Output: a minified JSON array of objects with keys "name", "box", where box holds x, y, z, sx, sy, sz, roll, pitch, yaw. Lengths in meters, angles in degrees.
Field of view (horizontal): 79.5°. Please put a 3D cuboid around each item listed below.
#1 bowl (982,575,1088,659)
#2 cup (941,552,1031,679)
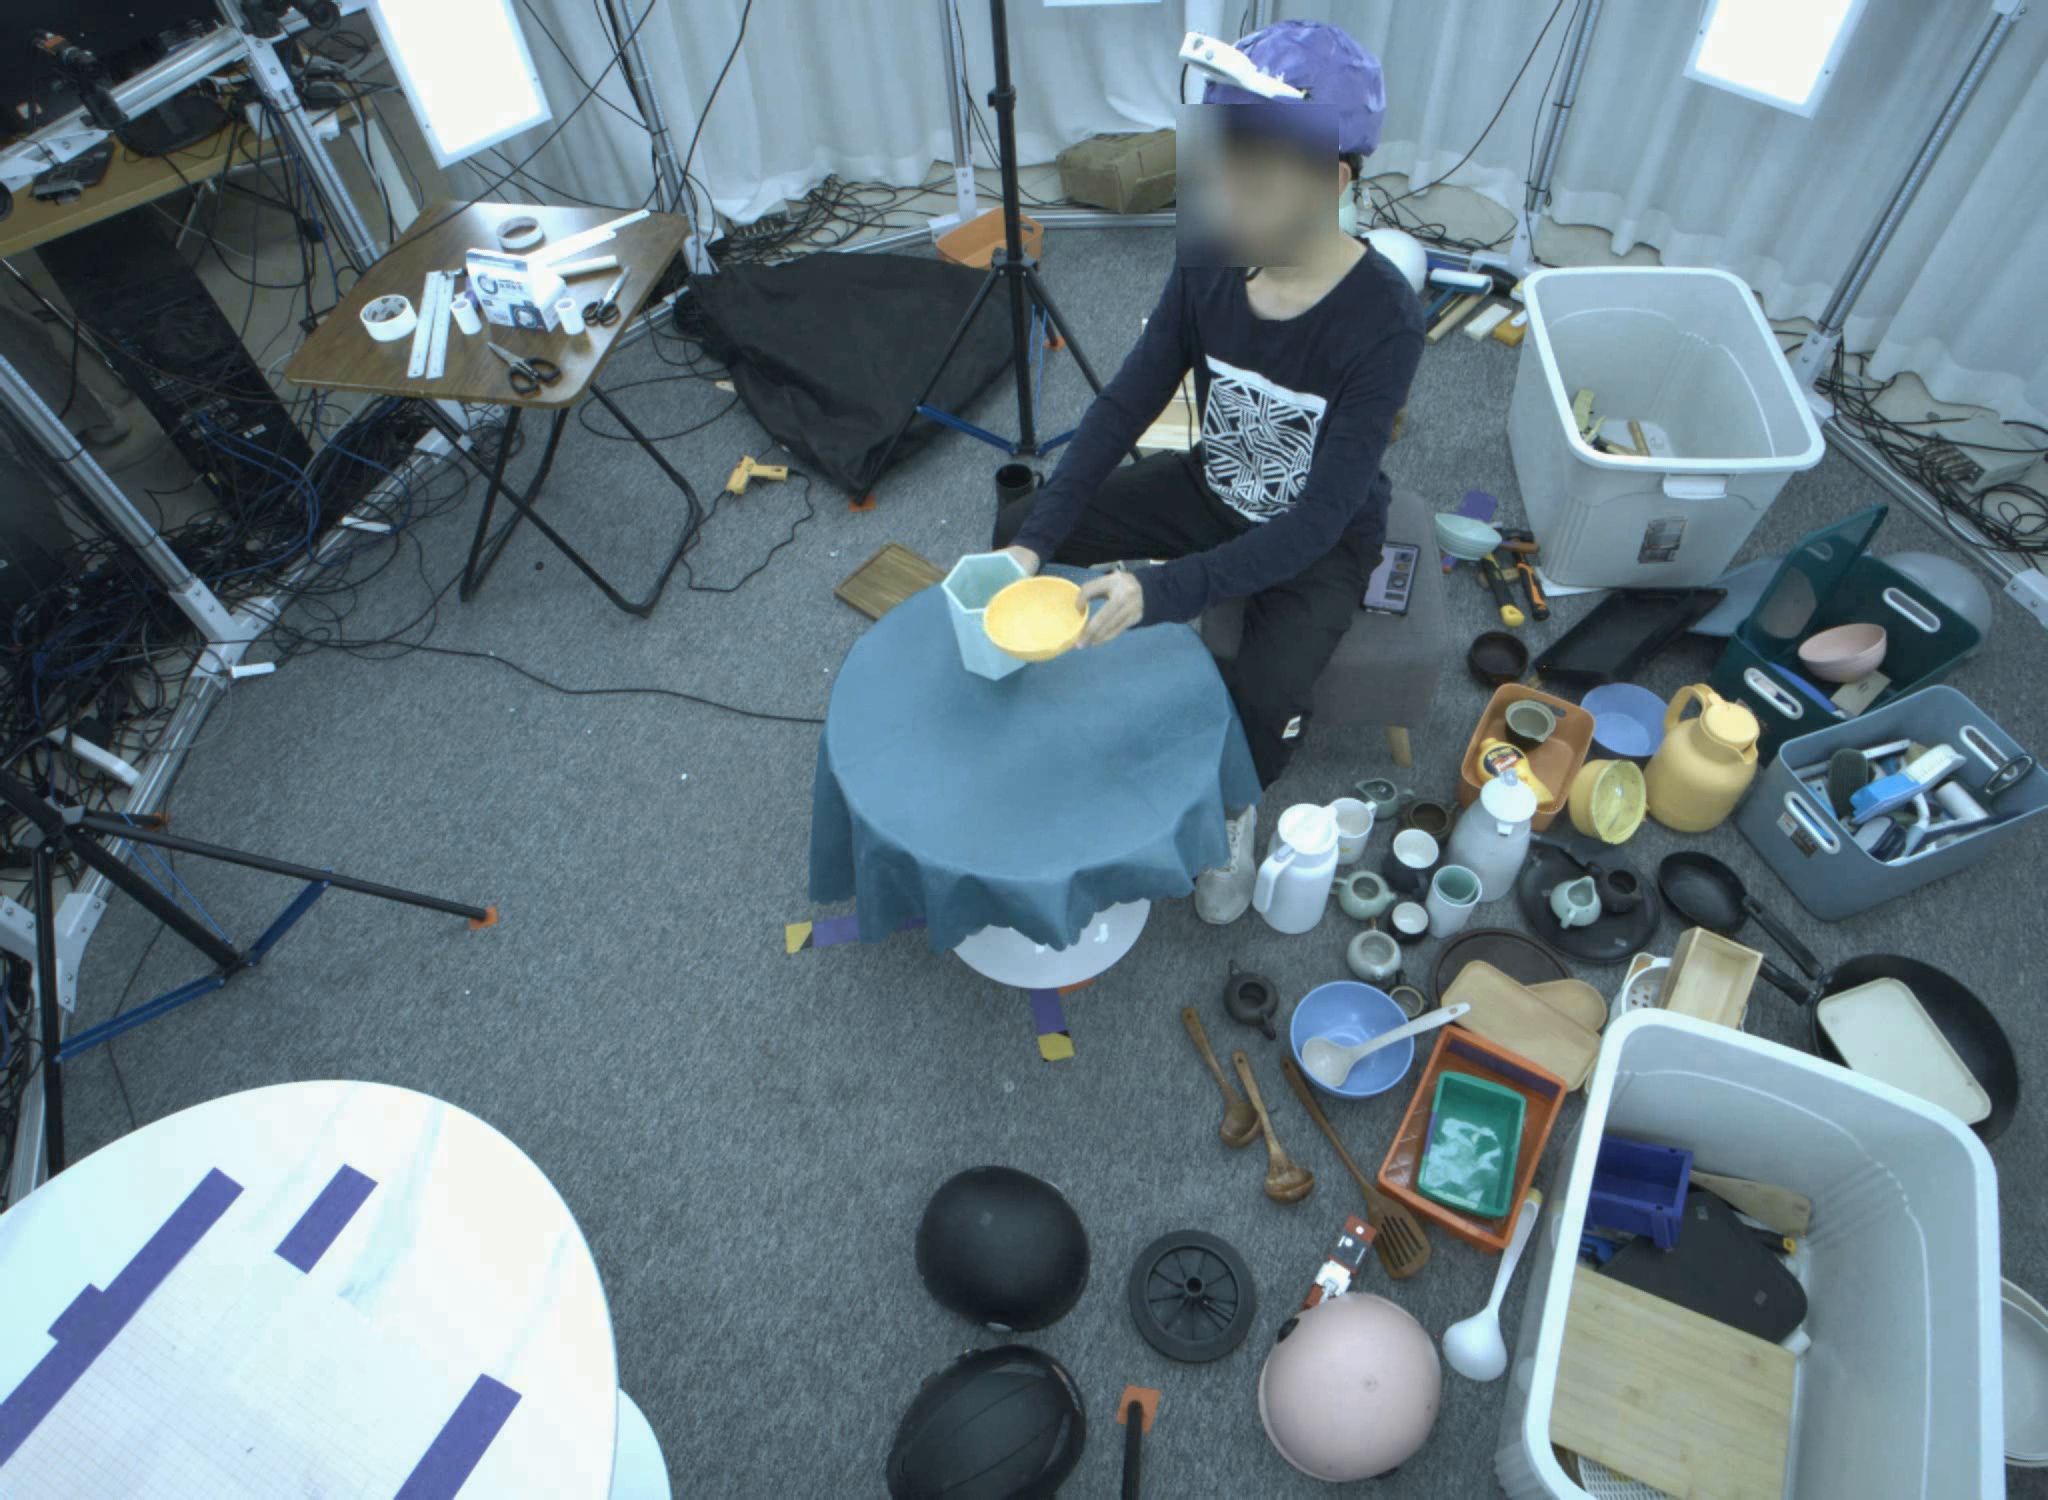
[{"name":"bowl","box":[0.018,-0.170,1.672,0.145,0.061,0.144,-4,48,6]},{"name":"cup","box":[-0.050,-0.194,1.817,0.116,0.164,0.128,-31,59,-17]}]
